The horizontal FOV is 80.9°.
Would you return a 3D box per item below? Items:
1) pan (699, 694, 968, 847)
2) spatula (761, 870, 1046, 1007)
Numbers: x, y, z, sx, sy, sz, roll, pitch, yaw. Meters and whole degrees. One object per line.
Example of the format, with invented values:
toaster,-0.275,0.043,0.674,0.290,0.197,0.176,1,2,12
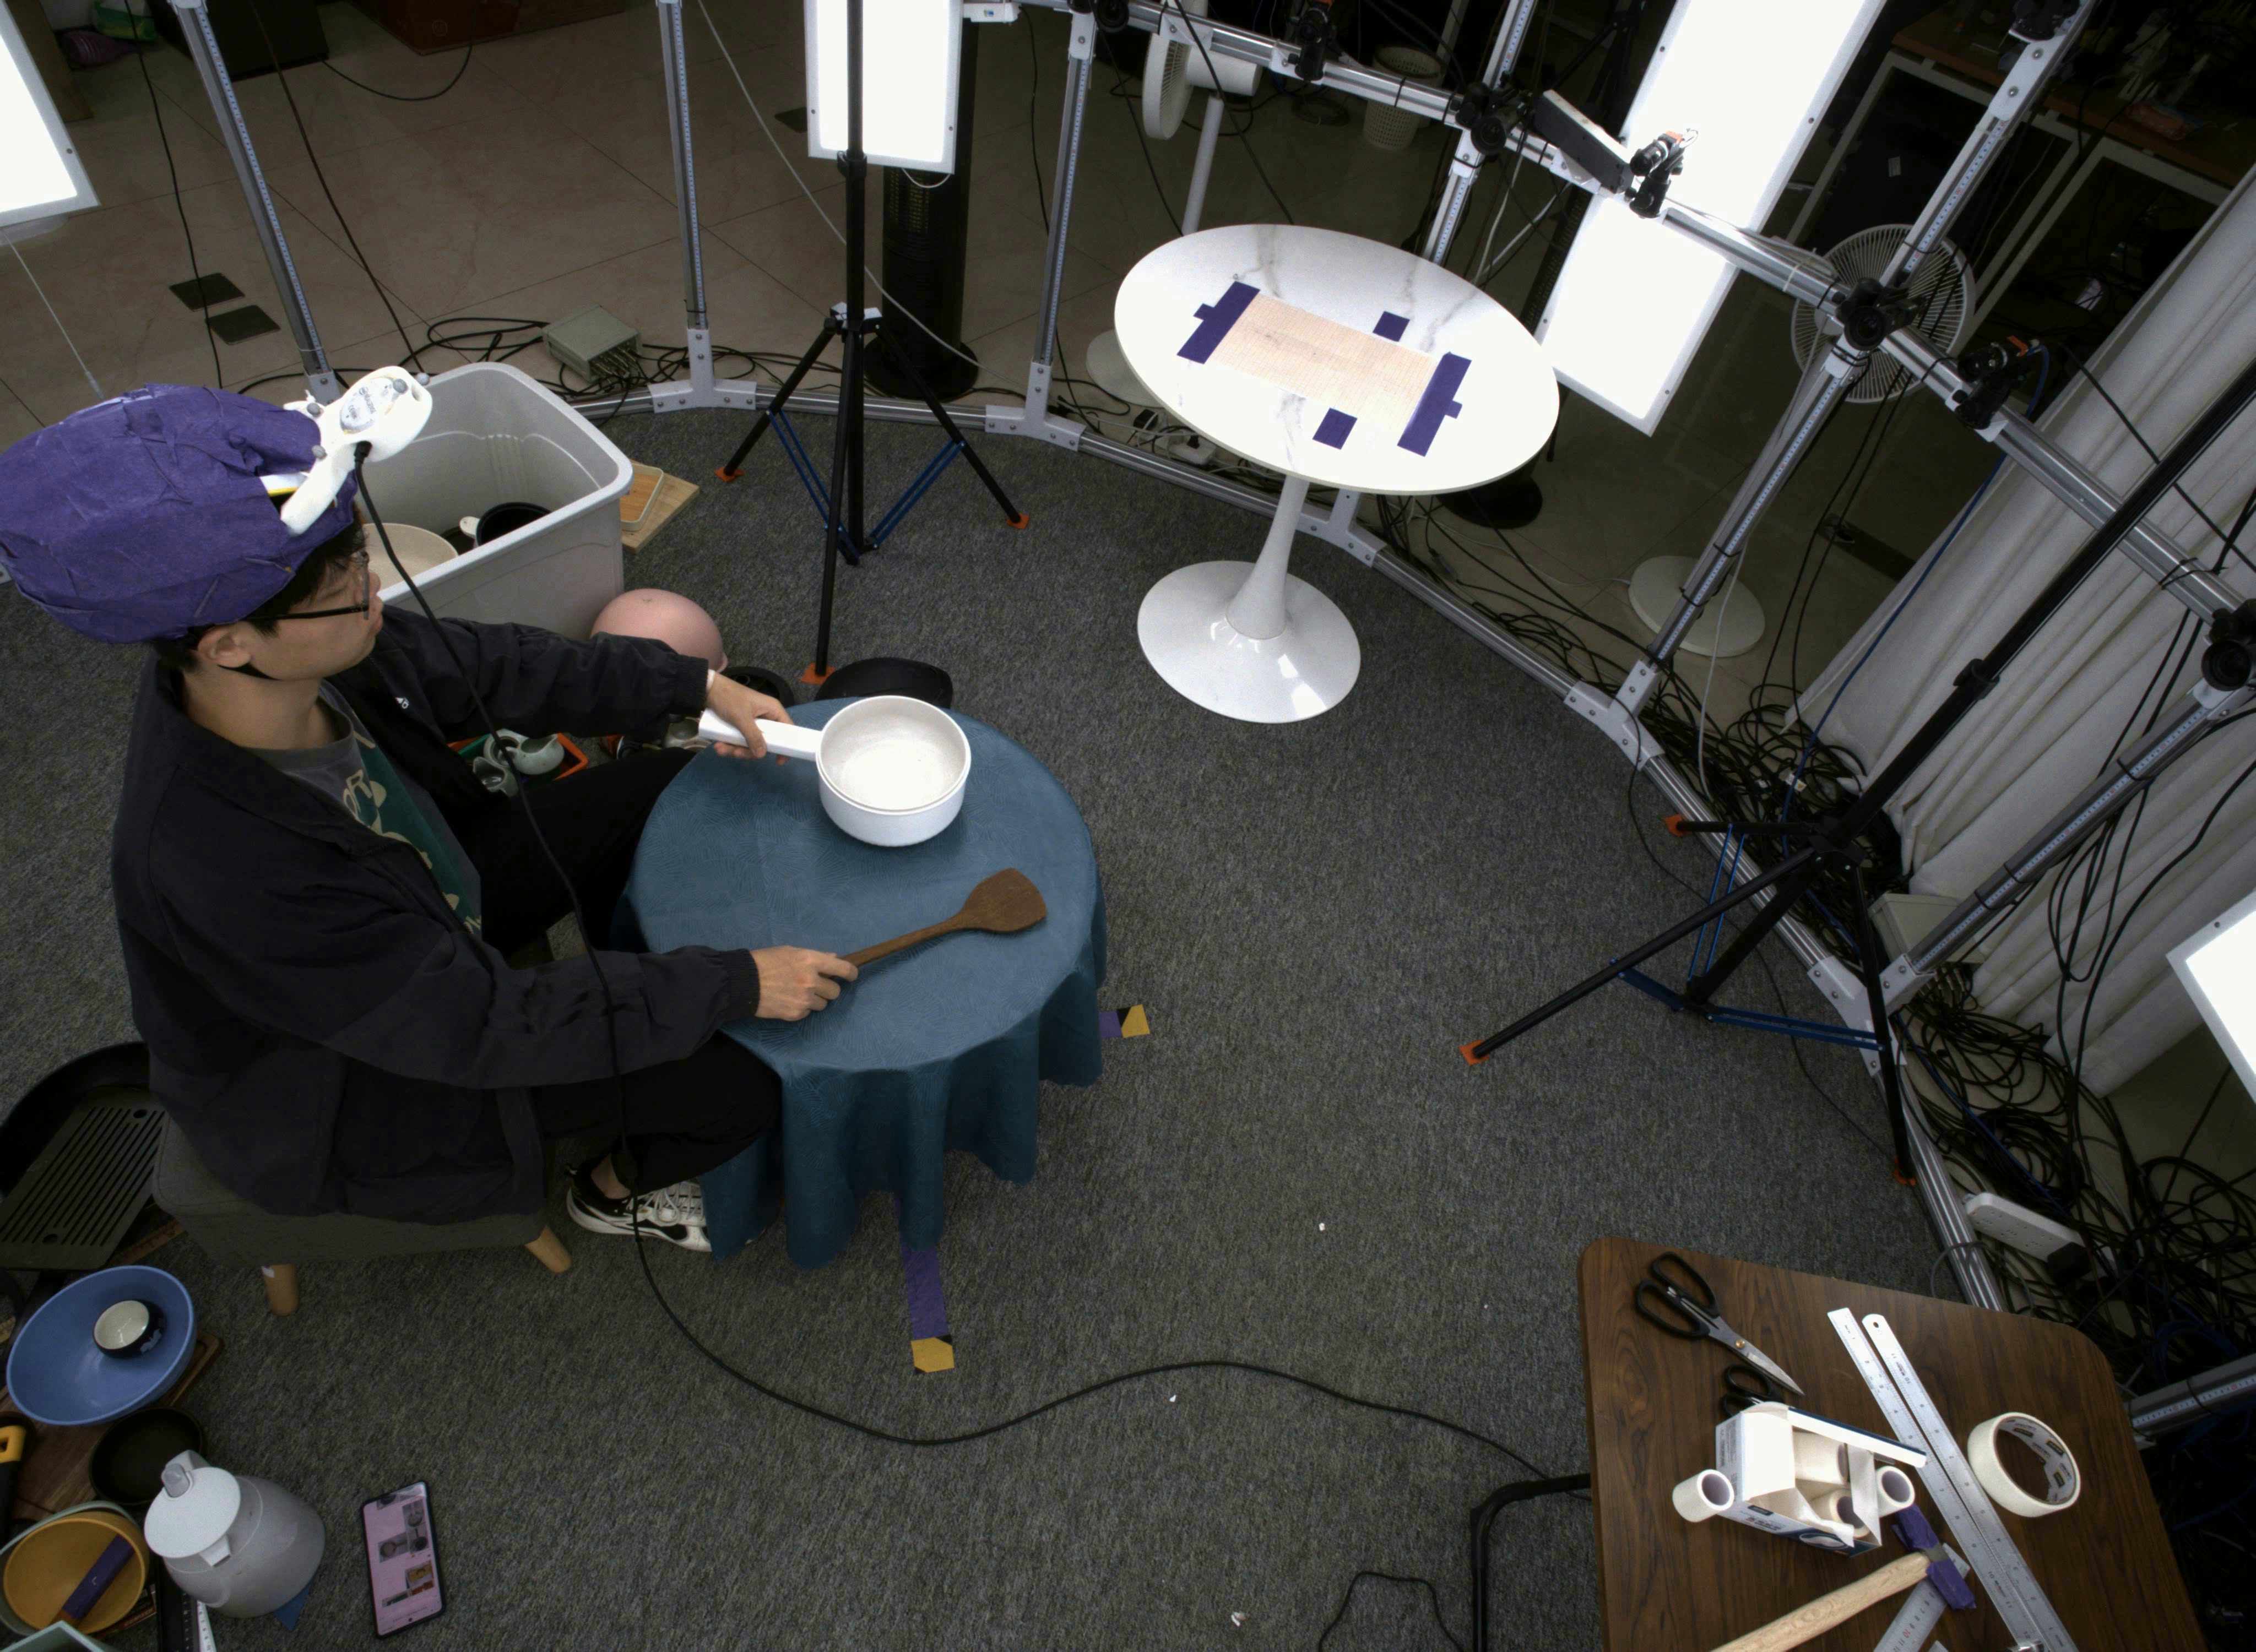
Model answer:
pan,-0.391,-0.083,1.730,0.353,0.104,0.198,11,53,-5
spatula,-0.277,0.144,1.630,0.388,0.016,0.093,-21,56,-31
